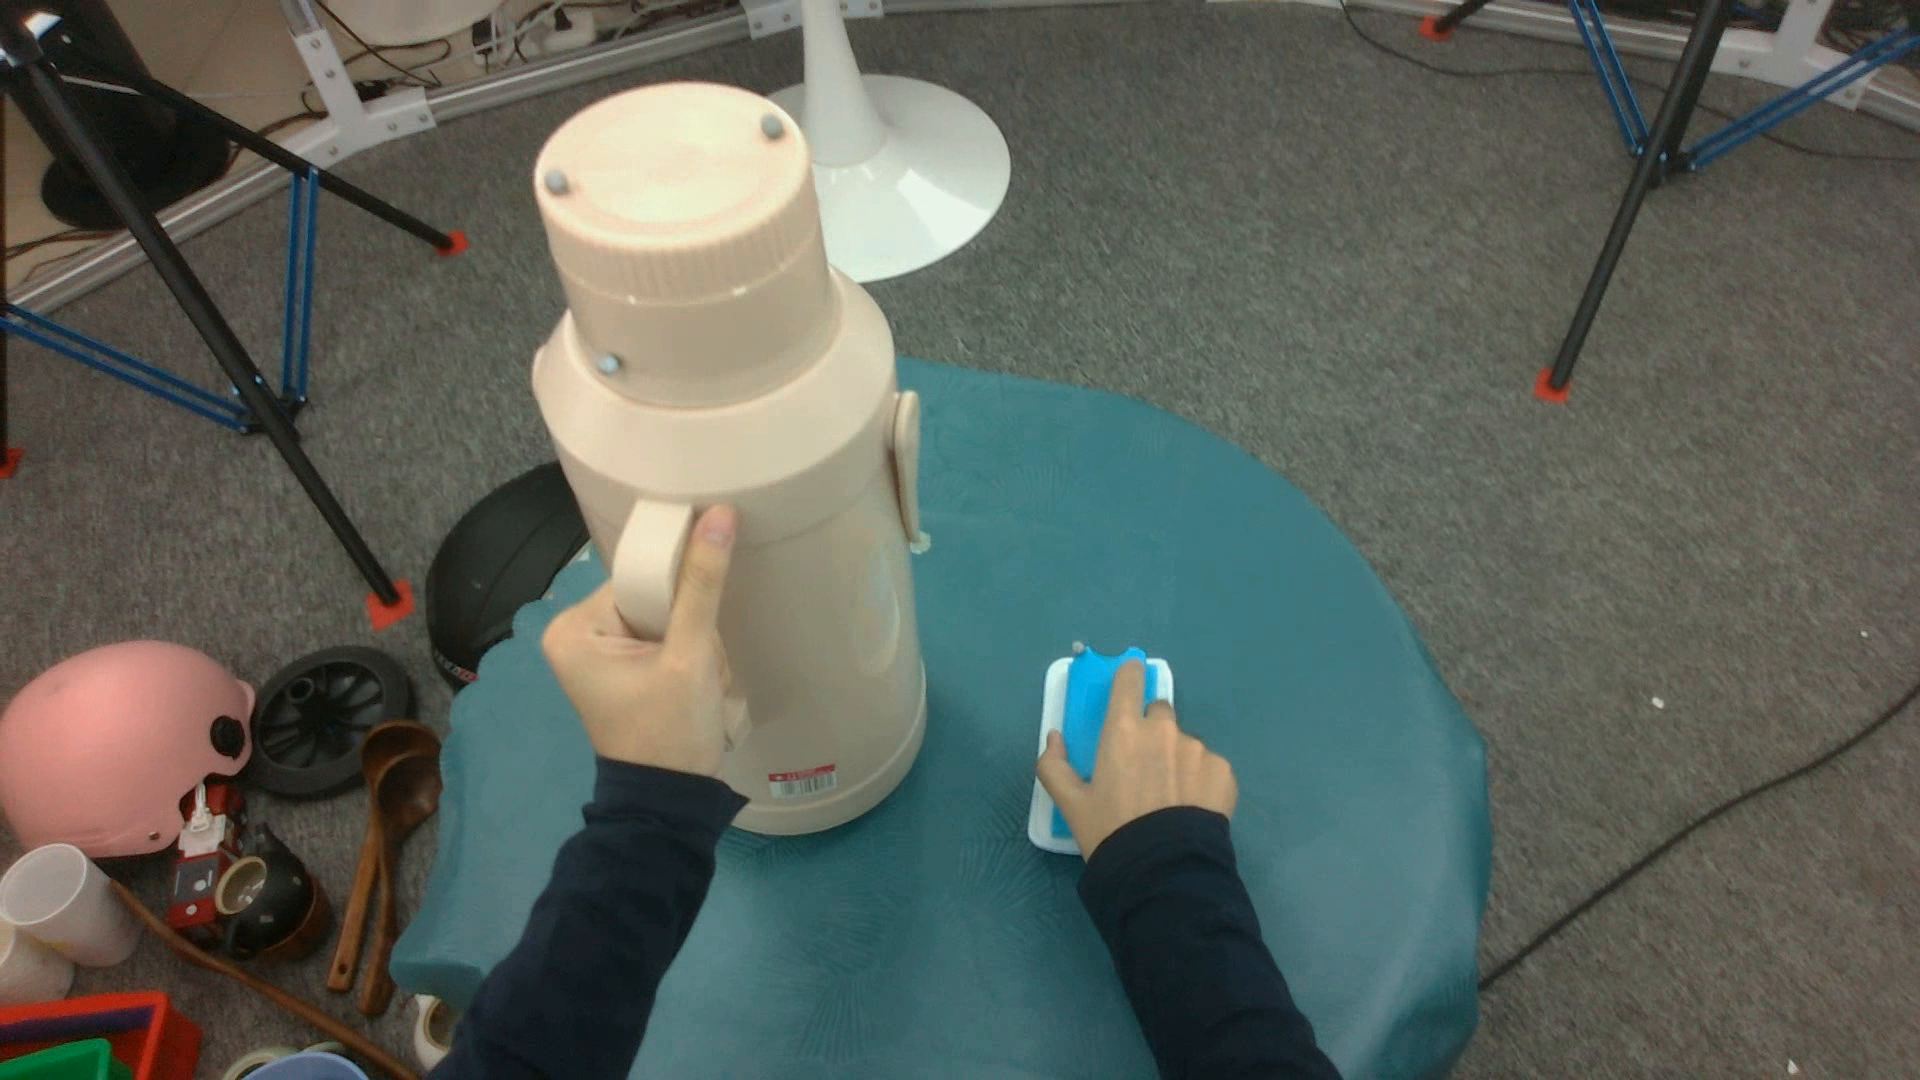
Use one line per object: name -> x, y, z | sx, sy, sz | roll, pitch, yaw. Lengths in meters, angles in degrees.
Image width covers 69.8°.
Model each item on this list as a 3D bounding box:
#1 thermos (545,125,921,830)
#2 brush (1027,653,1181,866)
thermos -> -0.109, 0.000, 0.694 | 0.175, 0.404, 0.208 | 8, 52, 6
brush -> 0.086, 0.122, 0.813 | 0.084, 0.055, 0.145 | 0, 43, 15
